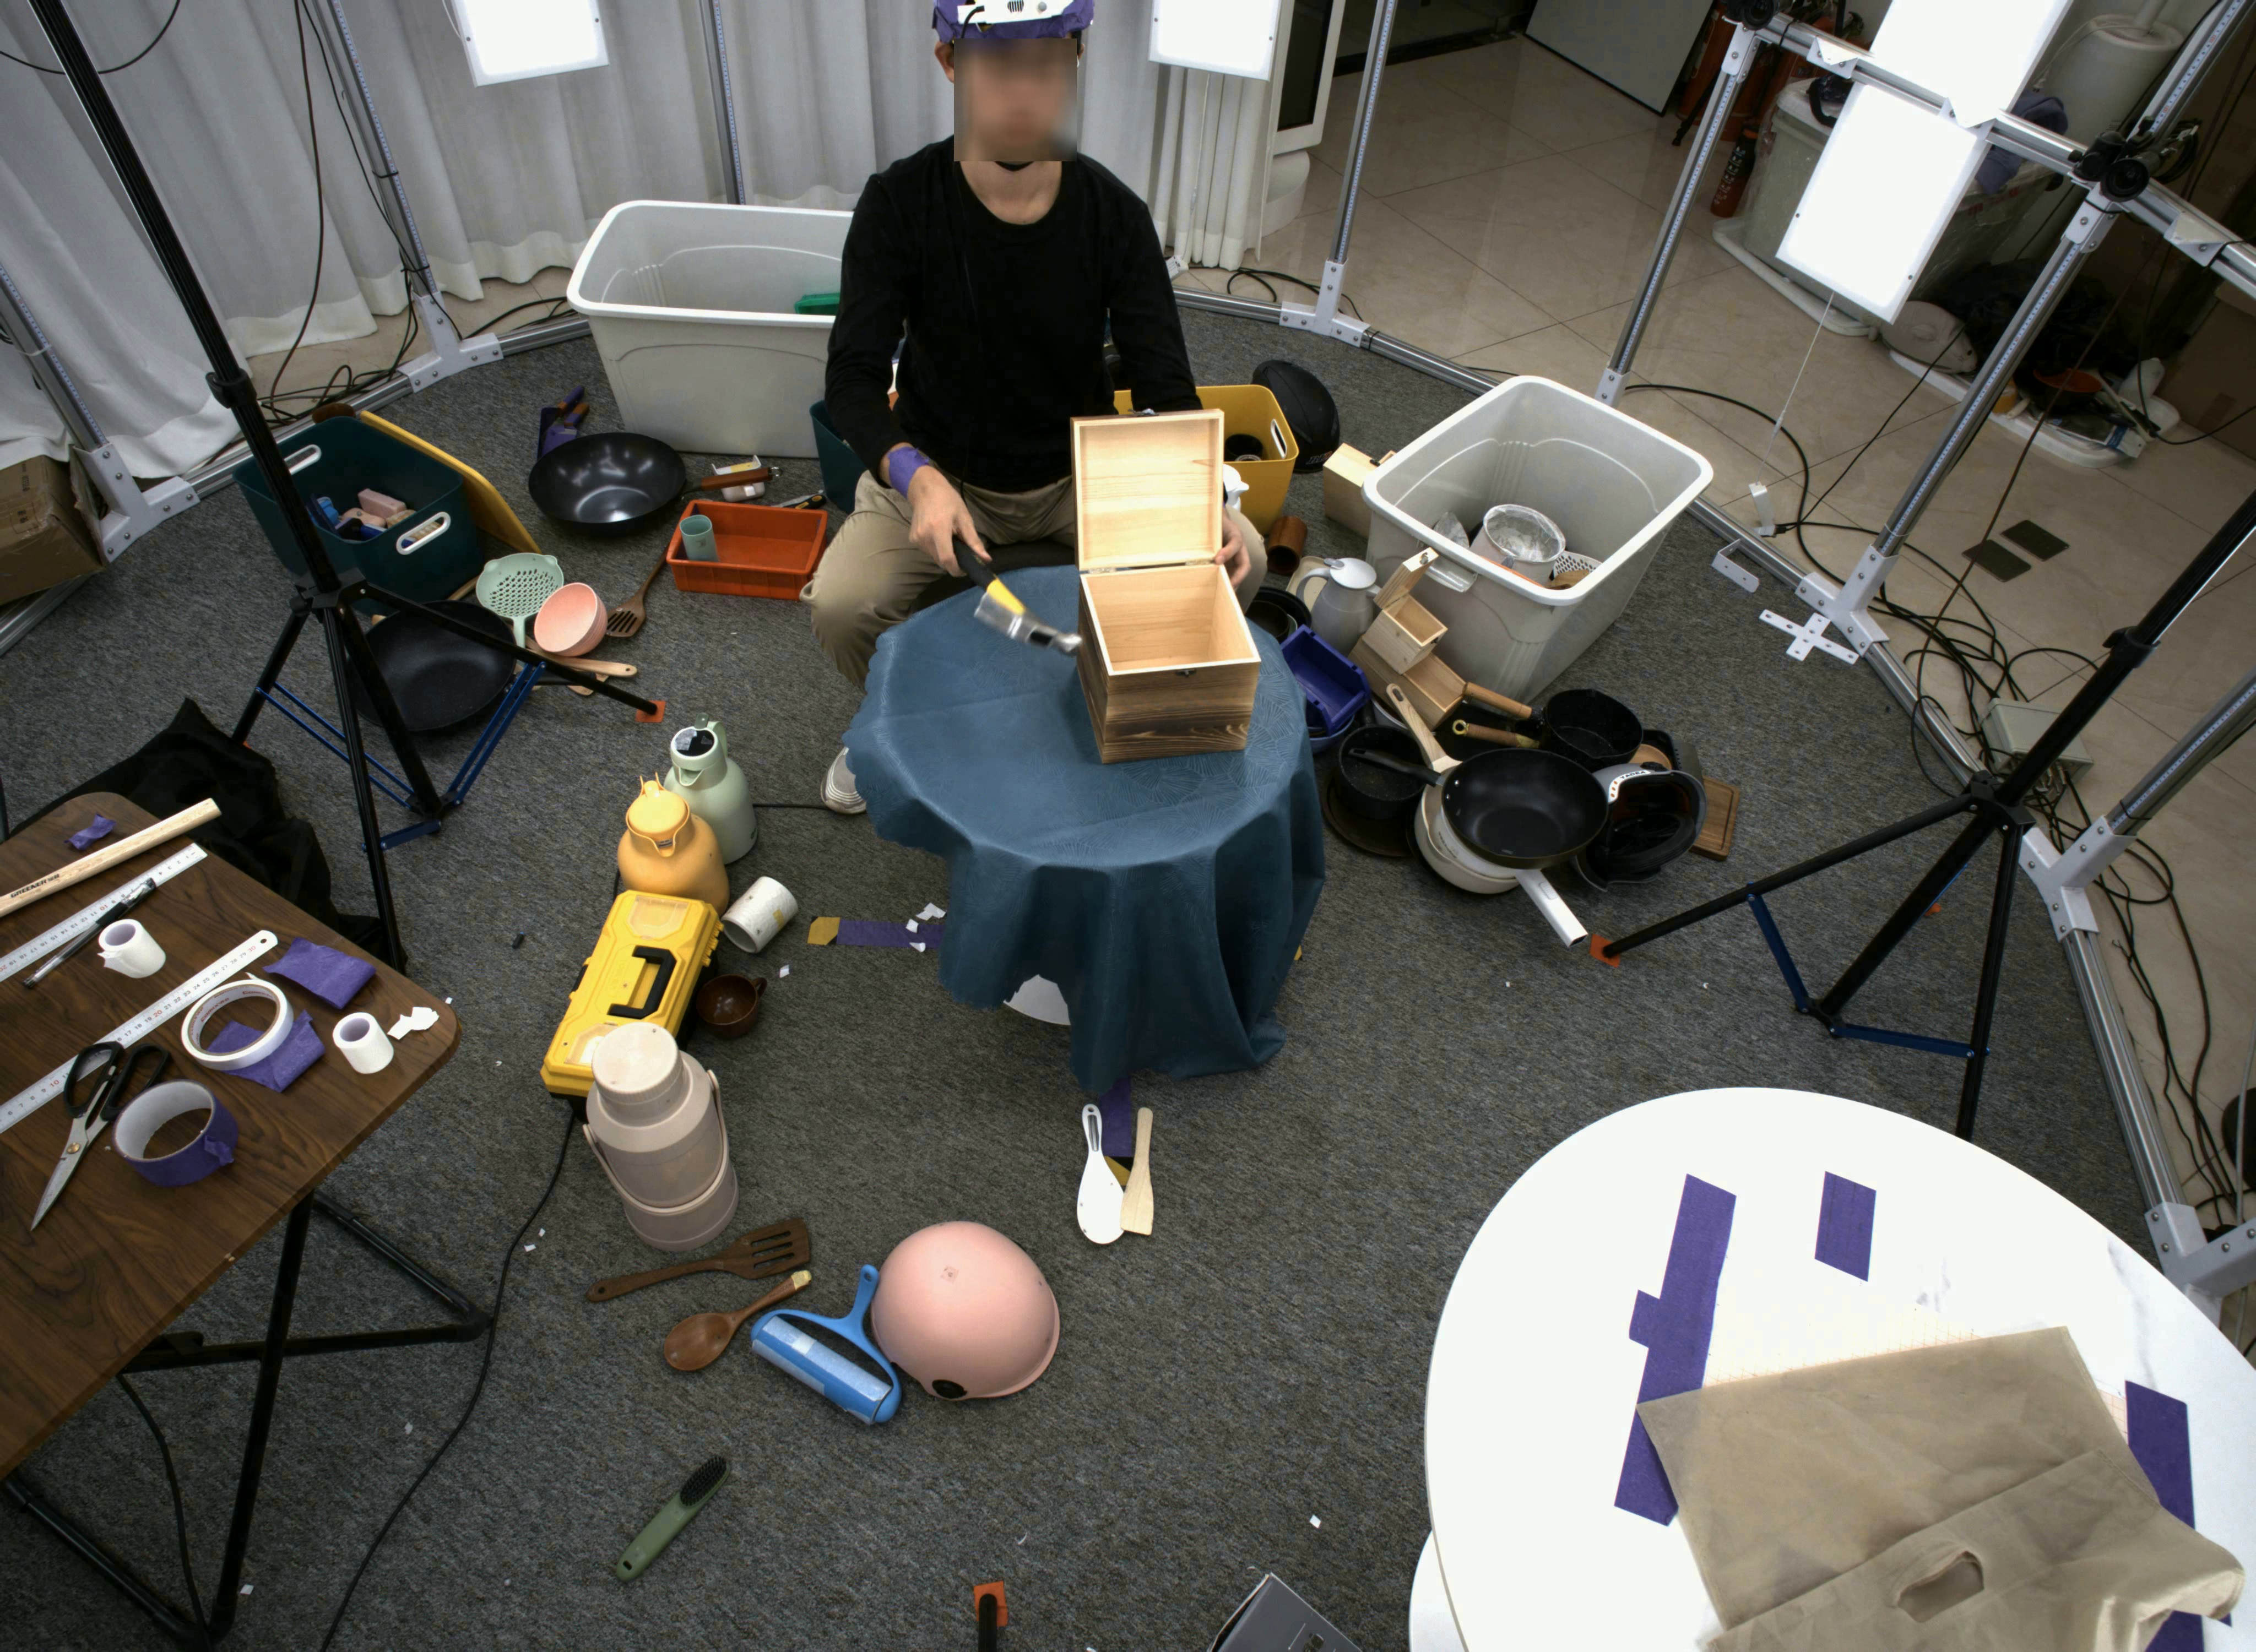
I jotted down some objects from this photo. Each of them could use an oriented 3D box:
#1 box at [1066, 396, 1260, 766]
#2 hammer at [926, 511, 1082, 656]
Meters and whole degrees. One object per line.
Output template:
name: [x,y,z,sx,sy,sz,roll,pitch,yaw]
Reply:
box: [0.042,-0.323,1.719,0.208,0.366,0.330,-7,50,-9]
hammer: [-0.185,-0.330,1.684,0.130,0.032,0.346,16,25,-41]
